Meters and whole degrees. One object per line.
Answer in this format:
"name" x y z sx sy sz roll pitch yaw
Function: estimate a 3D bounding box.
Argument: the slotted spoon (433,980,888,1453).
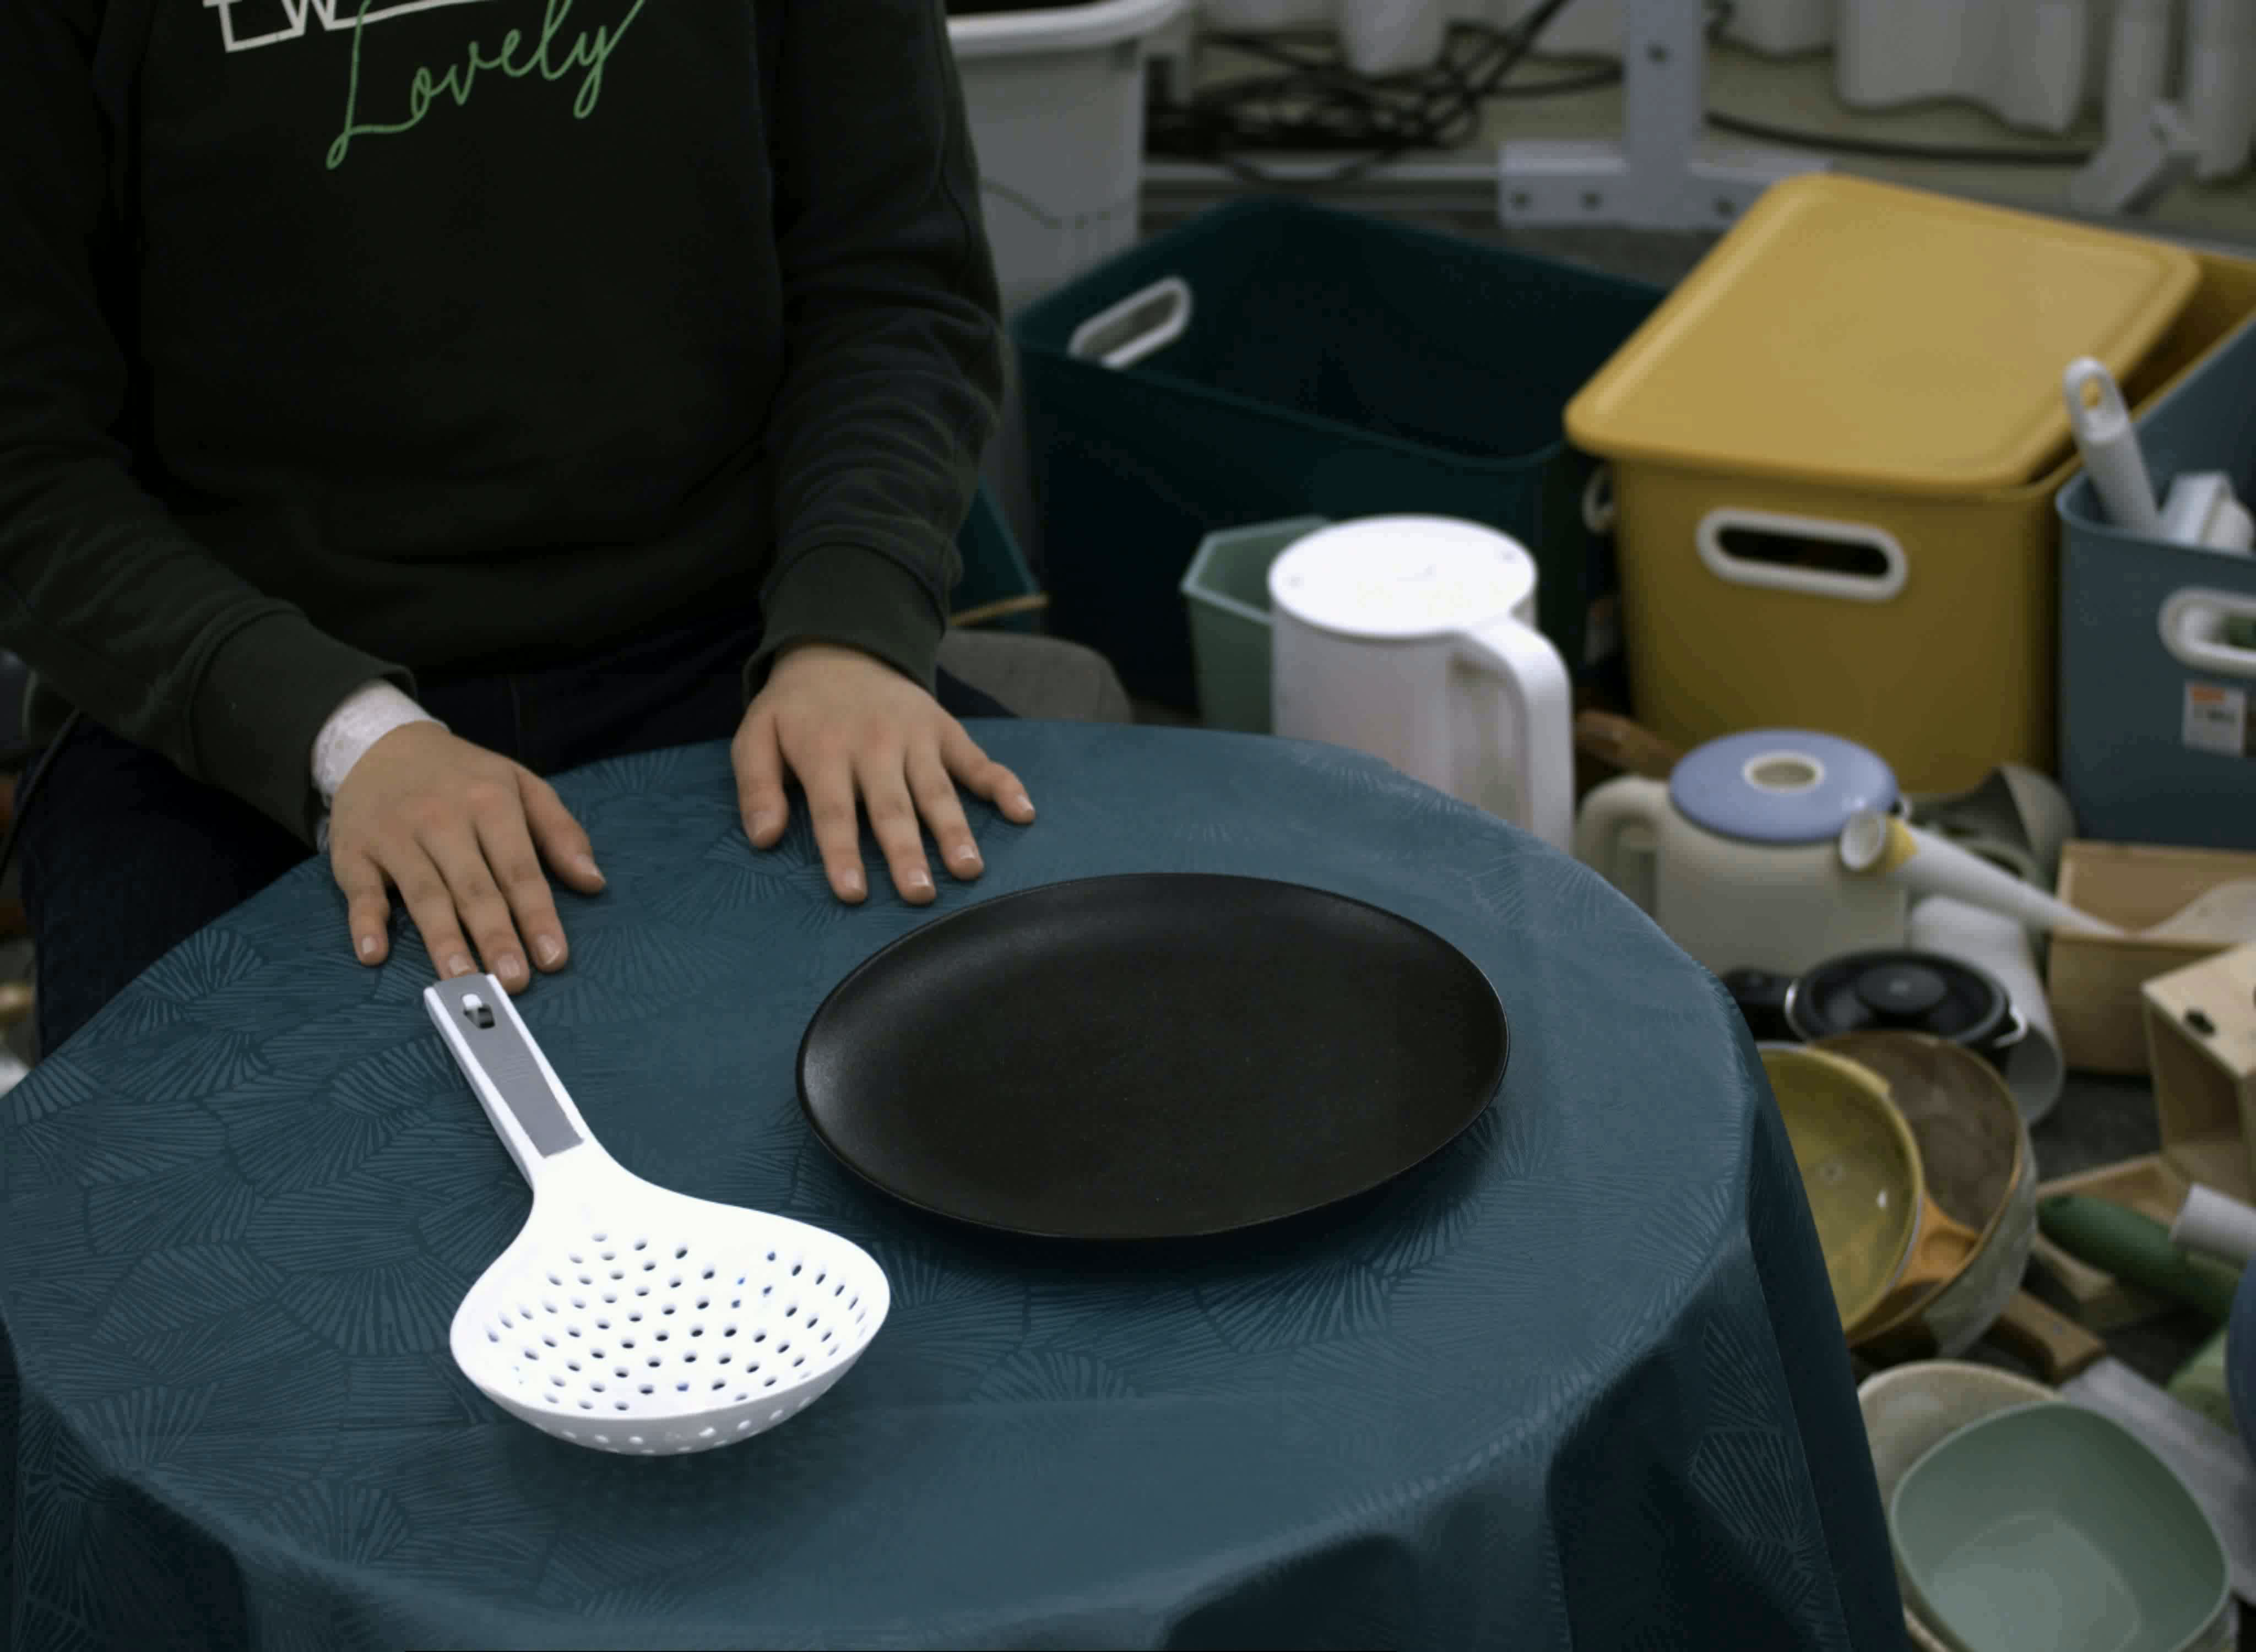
"slotted spoon" -0.177 0.121 1.832 0.136 0.045 0.352 -10 27 -17

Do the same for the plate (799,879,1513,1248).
"plate" 0.010 0.084 1.908 0.243 0.023 0.248 -2 27 1
